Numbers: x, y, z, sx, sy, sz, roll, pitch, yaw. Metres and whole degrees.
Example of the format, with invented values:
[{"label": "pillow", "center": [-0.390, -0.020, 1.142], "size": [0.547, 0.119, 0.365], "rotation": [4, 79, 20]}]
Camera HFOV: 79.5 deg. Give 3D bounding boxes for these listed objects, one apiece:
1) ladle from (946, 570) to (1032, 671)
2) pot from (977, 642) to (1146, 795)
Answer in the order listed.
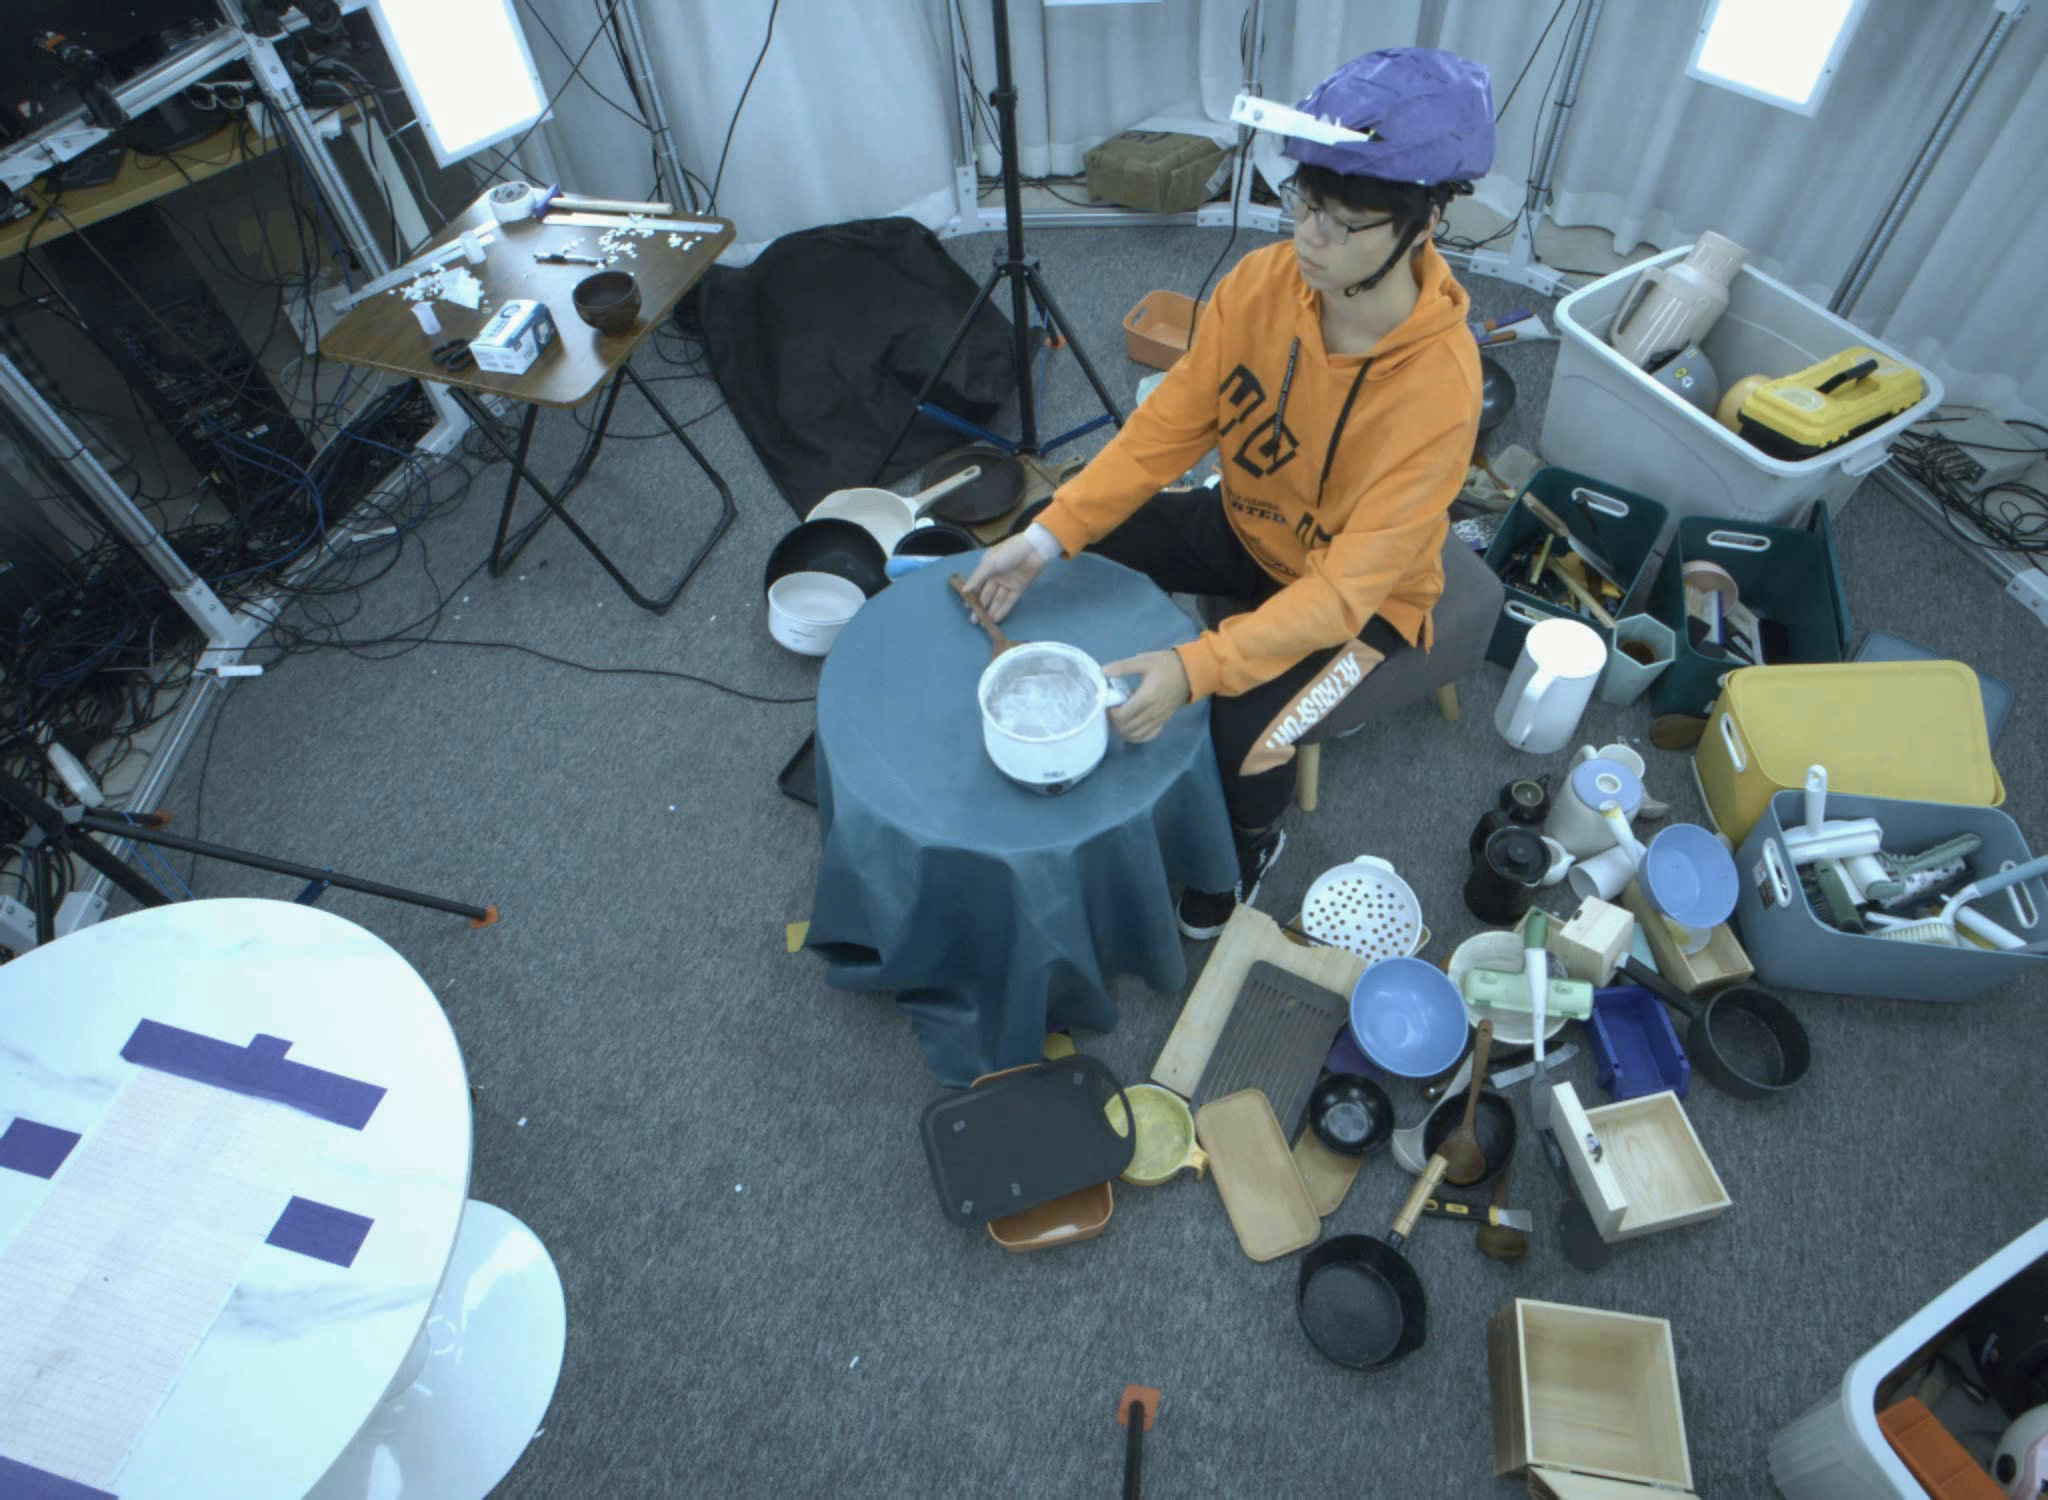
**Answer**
[{"label": "ladle", "center": [-0.065, -0.209, 1.898], "size": [0.077, 0.066, 0.255], "rotation": [-27, 58, -8]}, {"label": "pot", "center": [0.056, -0.049, 1.735], "size": [0.234, 0.138, 0.176], "rotation": [-9, 55, -3]}]
